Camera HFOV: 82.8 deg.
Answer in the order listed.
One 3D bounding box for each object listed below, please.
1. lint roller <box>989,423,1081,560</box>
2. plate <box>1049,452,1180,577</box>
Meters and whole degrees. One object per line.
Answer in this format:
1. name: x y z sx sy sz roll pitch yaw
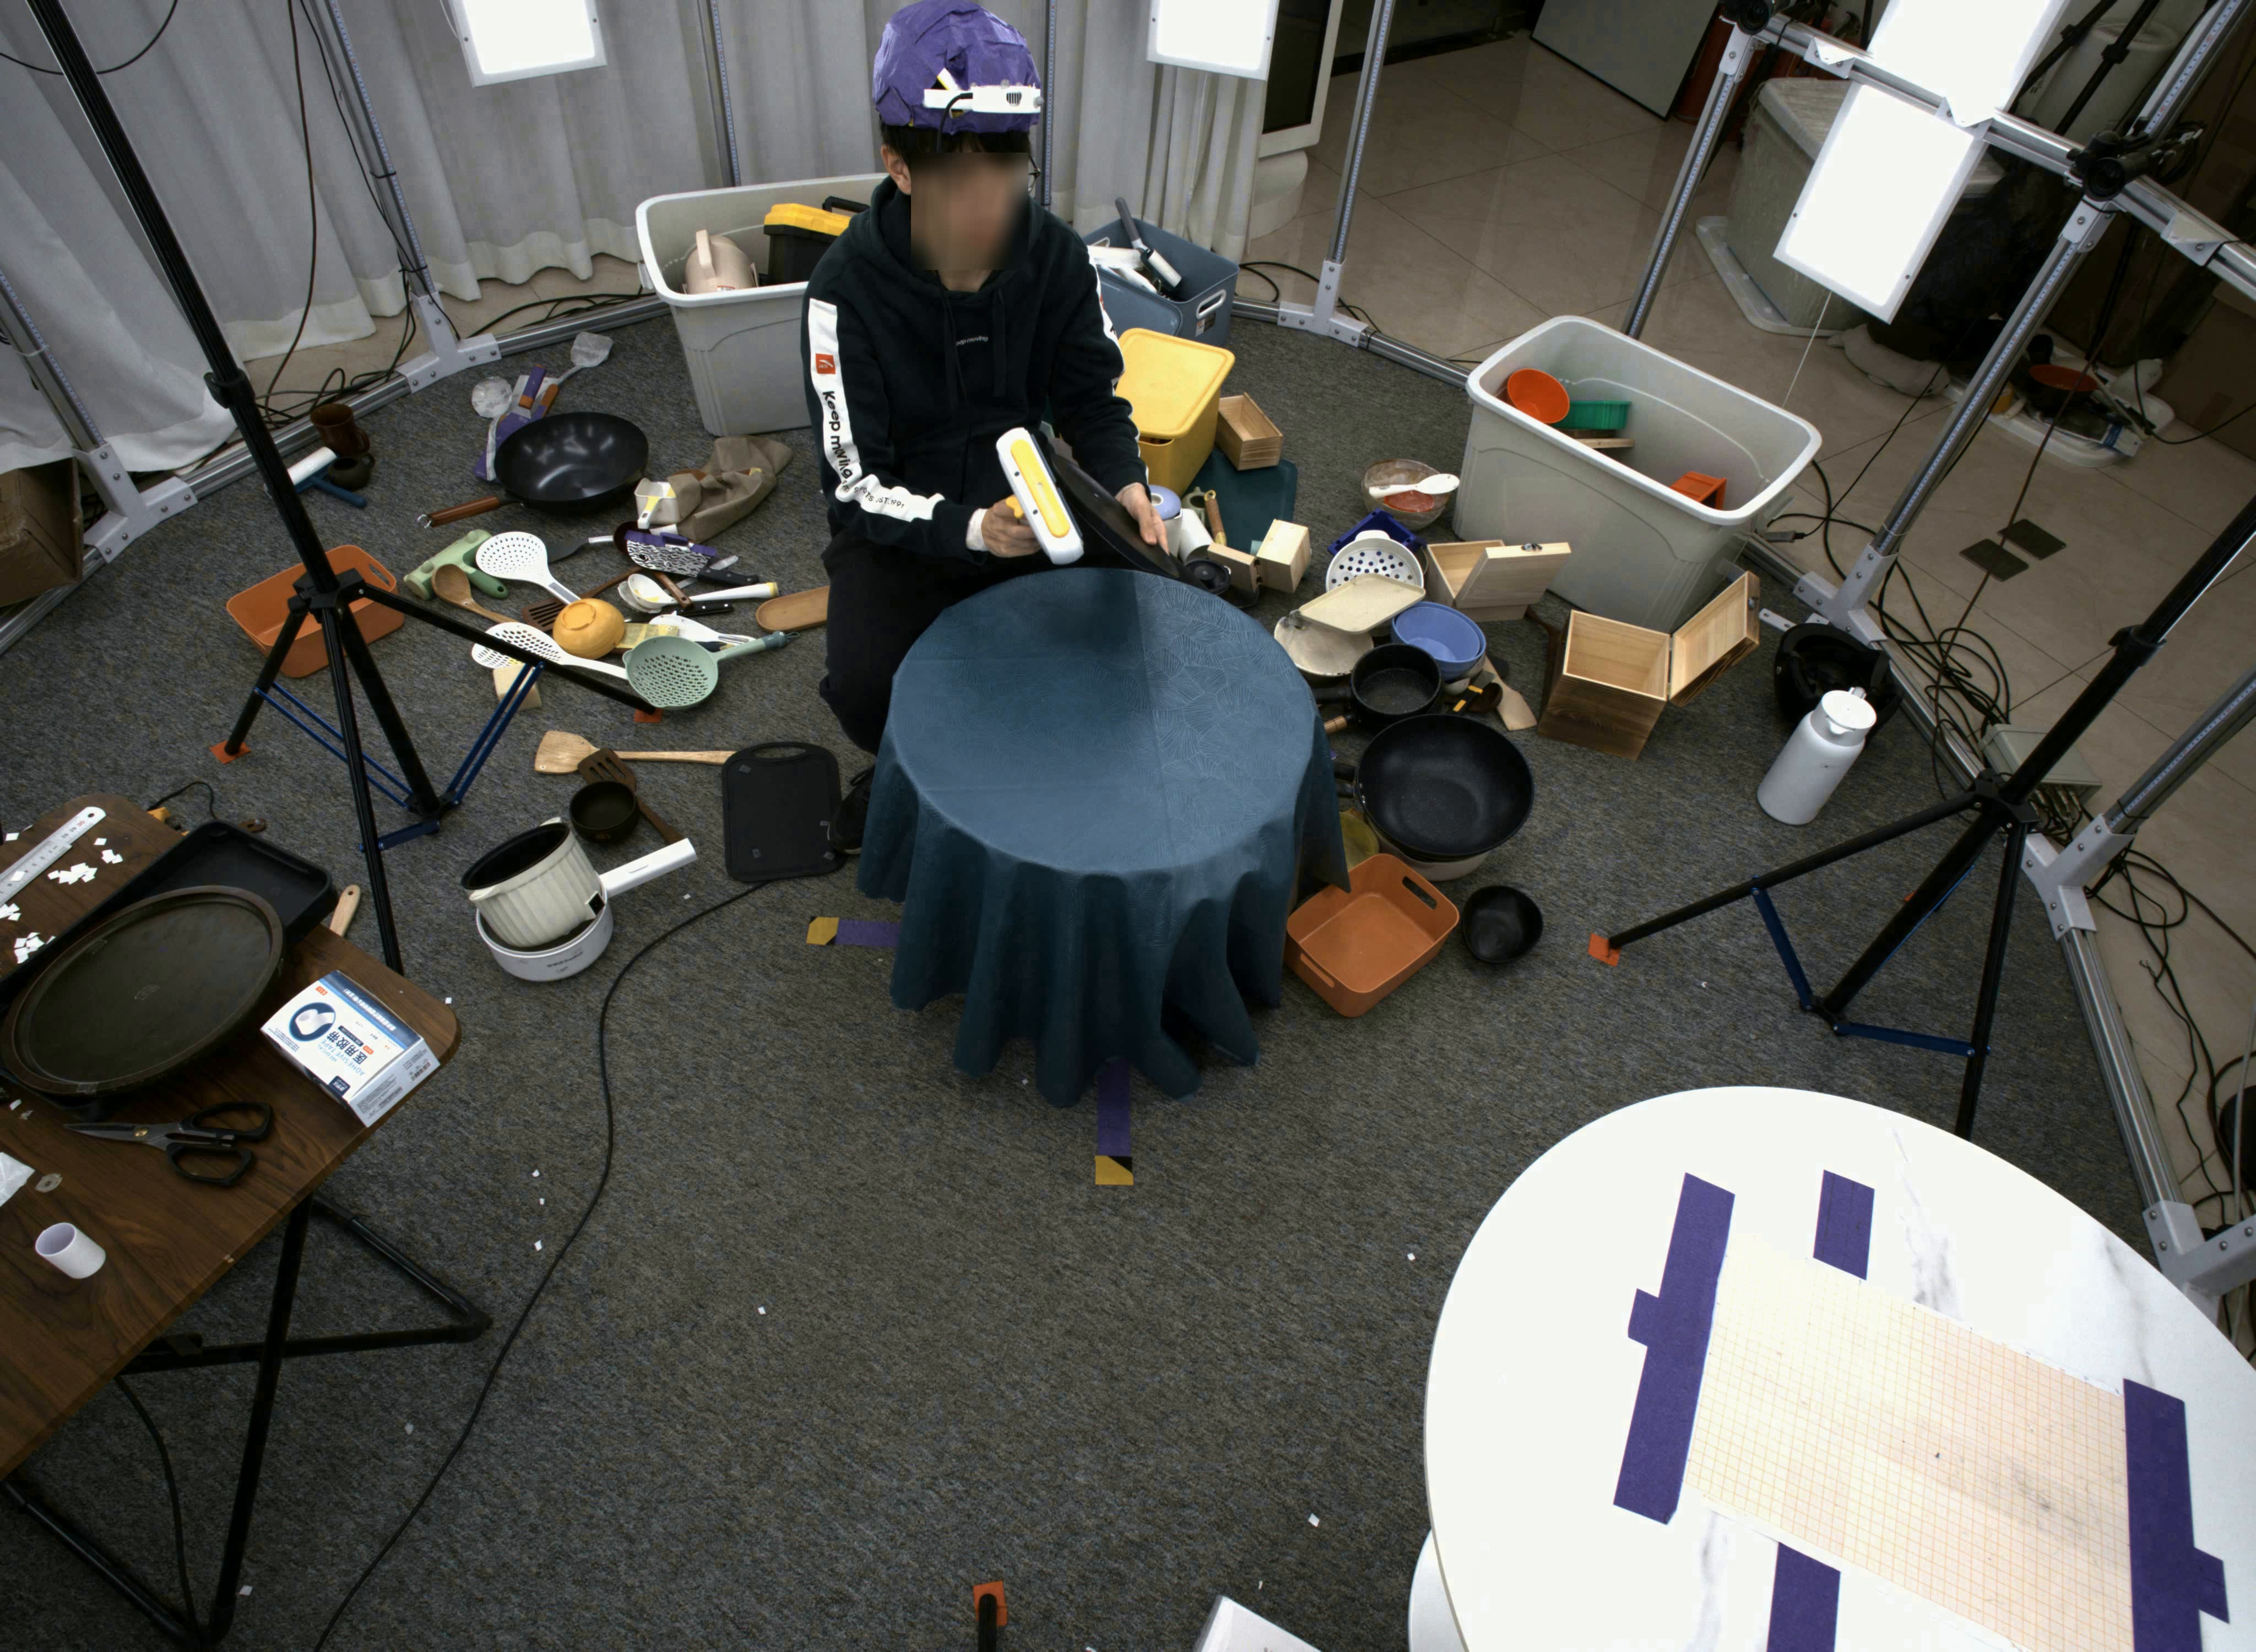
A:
1. lint roller: -0.130 -0.428 1.767 0.074 0.190 0.194 -30 81 -7
2. plate: -0.023 -0.426 1.795 0.242 0.023 0.248 39 18 -15
